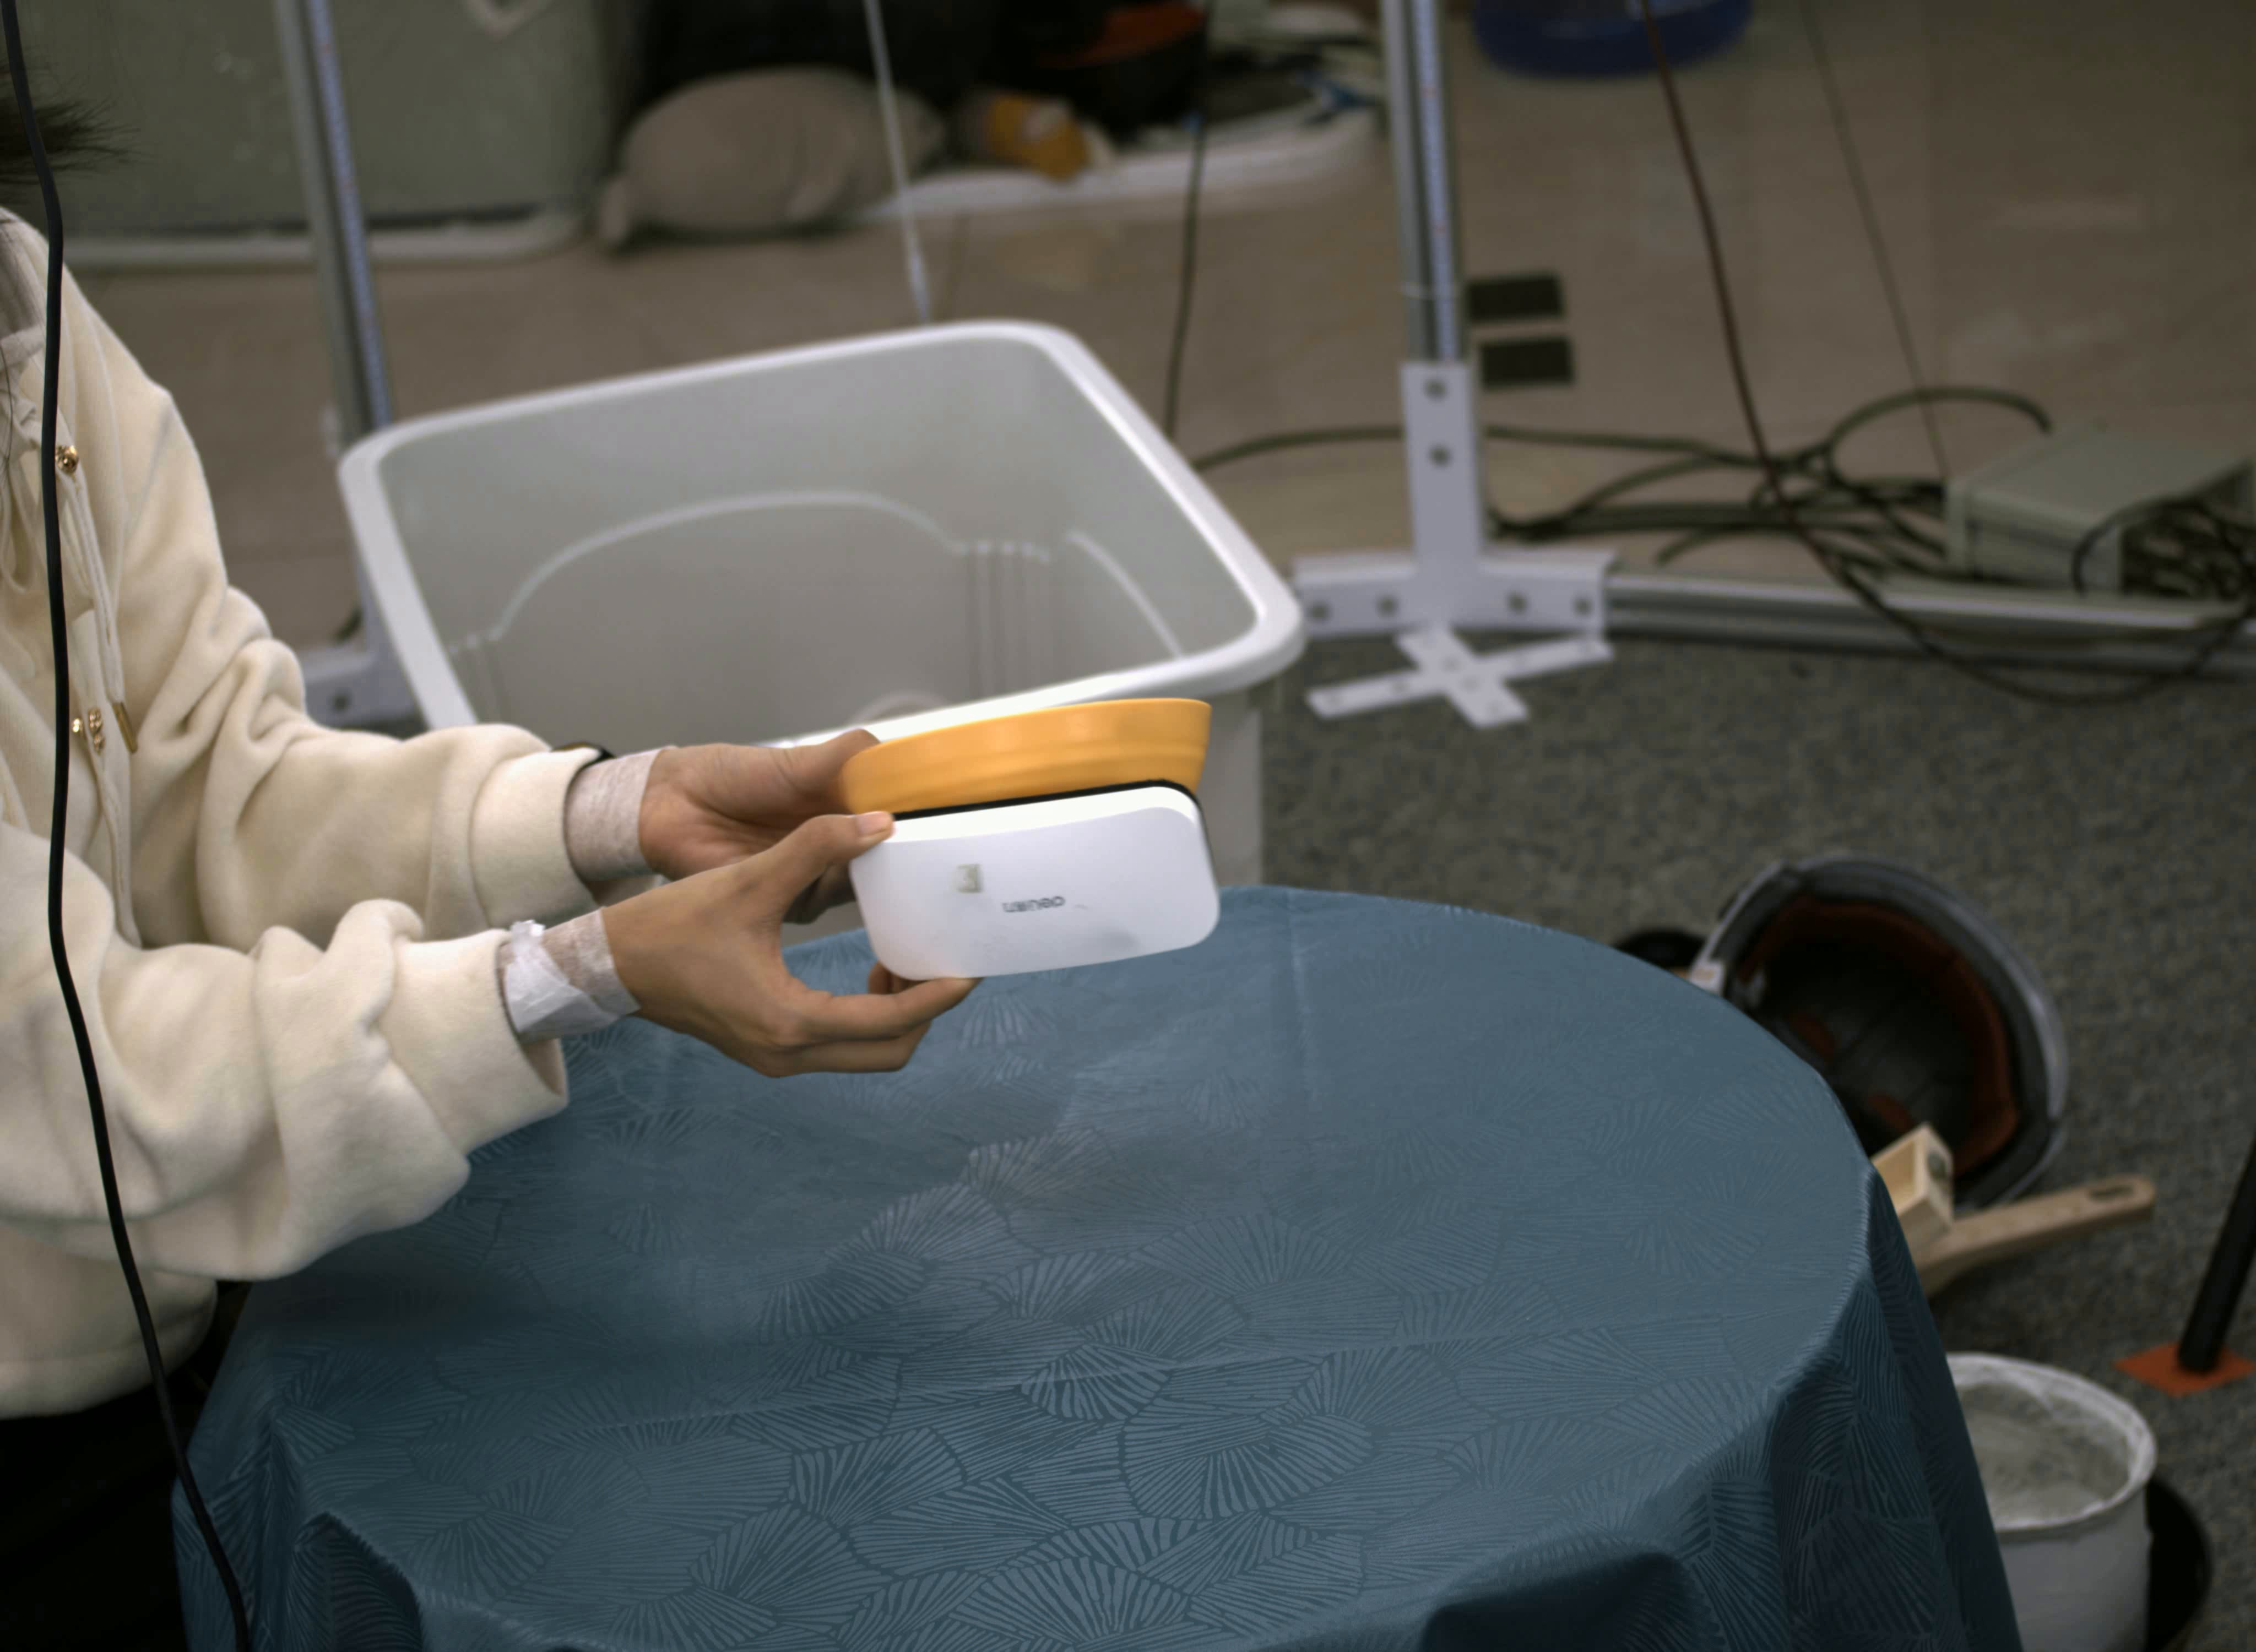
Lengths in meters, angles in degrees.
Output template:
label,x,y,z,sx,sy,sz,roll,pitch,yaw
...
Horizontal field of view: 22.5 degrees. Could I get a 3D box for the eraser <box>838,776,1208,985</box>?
label,x,y,z,sx,sy,sz,roll,pitch,yaw
eraser,-0.038,0.019,2.047,0.131,0.064,0.034,-8,29,13

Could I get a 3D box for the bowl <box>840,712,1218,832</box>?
label,x,y,z,sx,sy,sz,roll,pitch,yaw
bowl,-0.034,-0.003,2.124,0.145,0.060,0.146,-8,-5,-1
